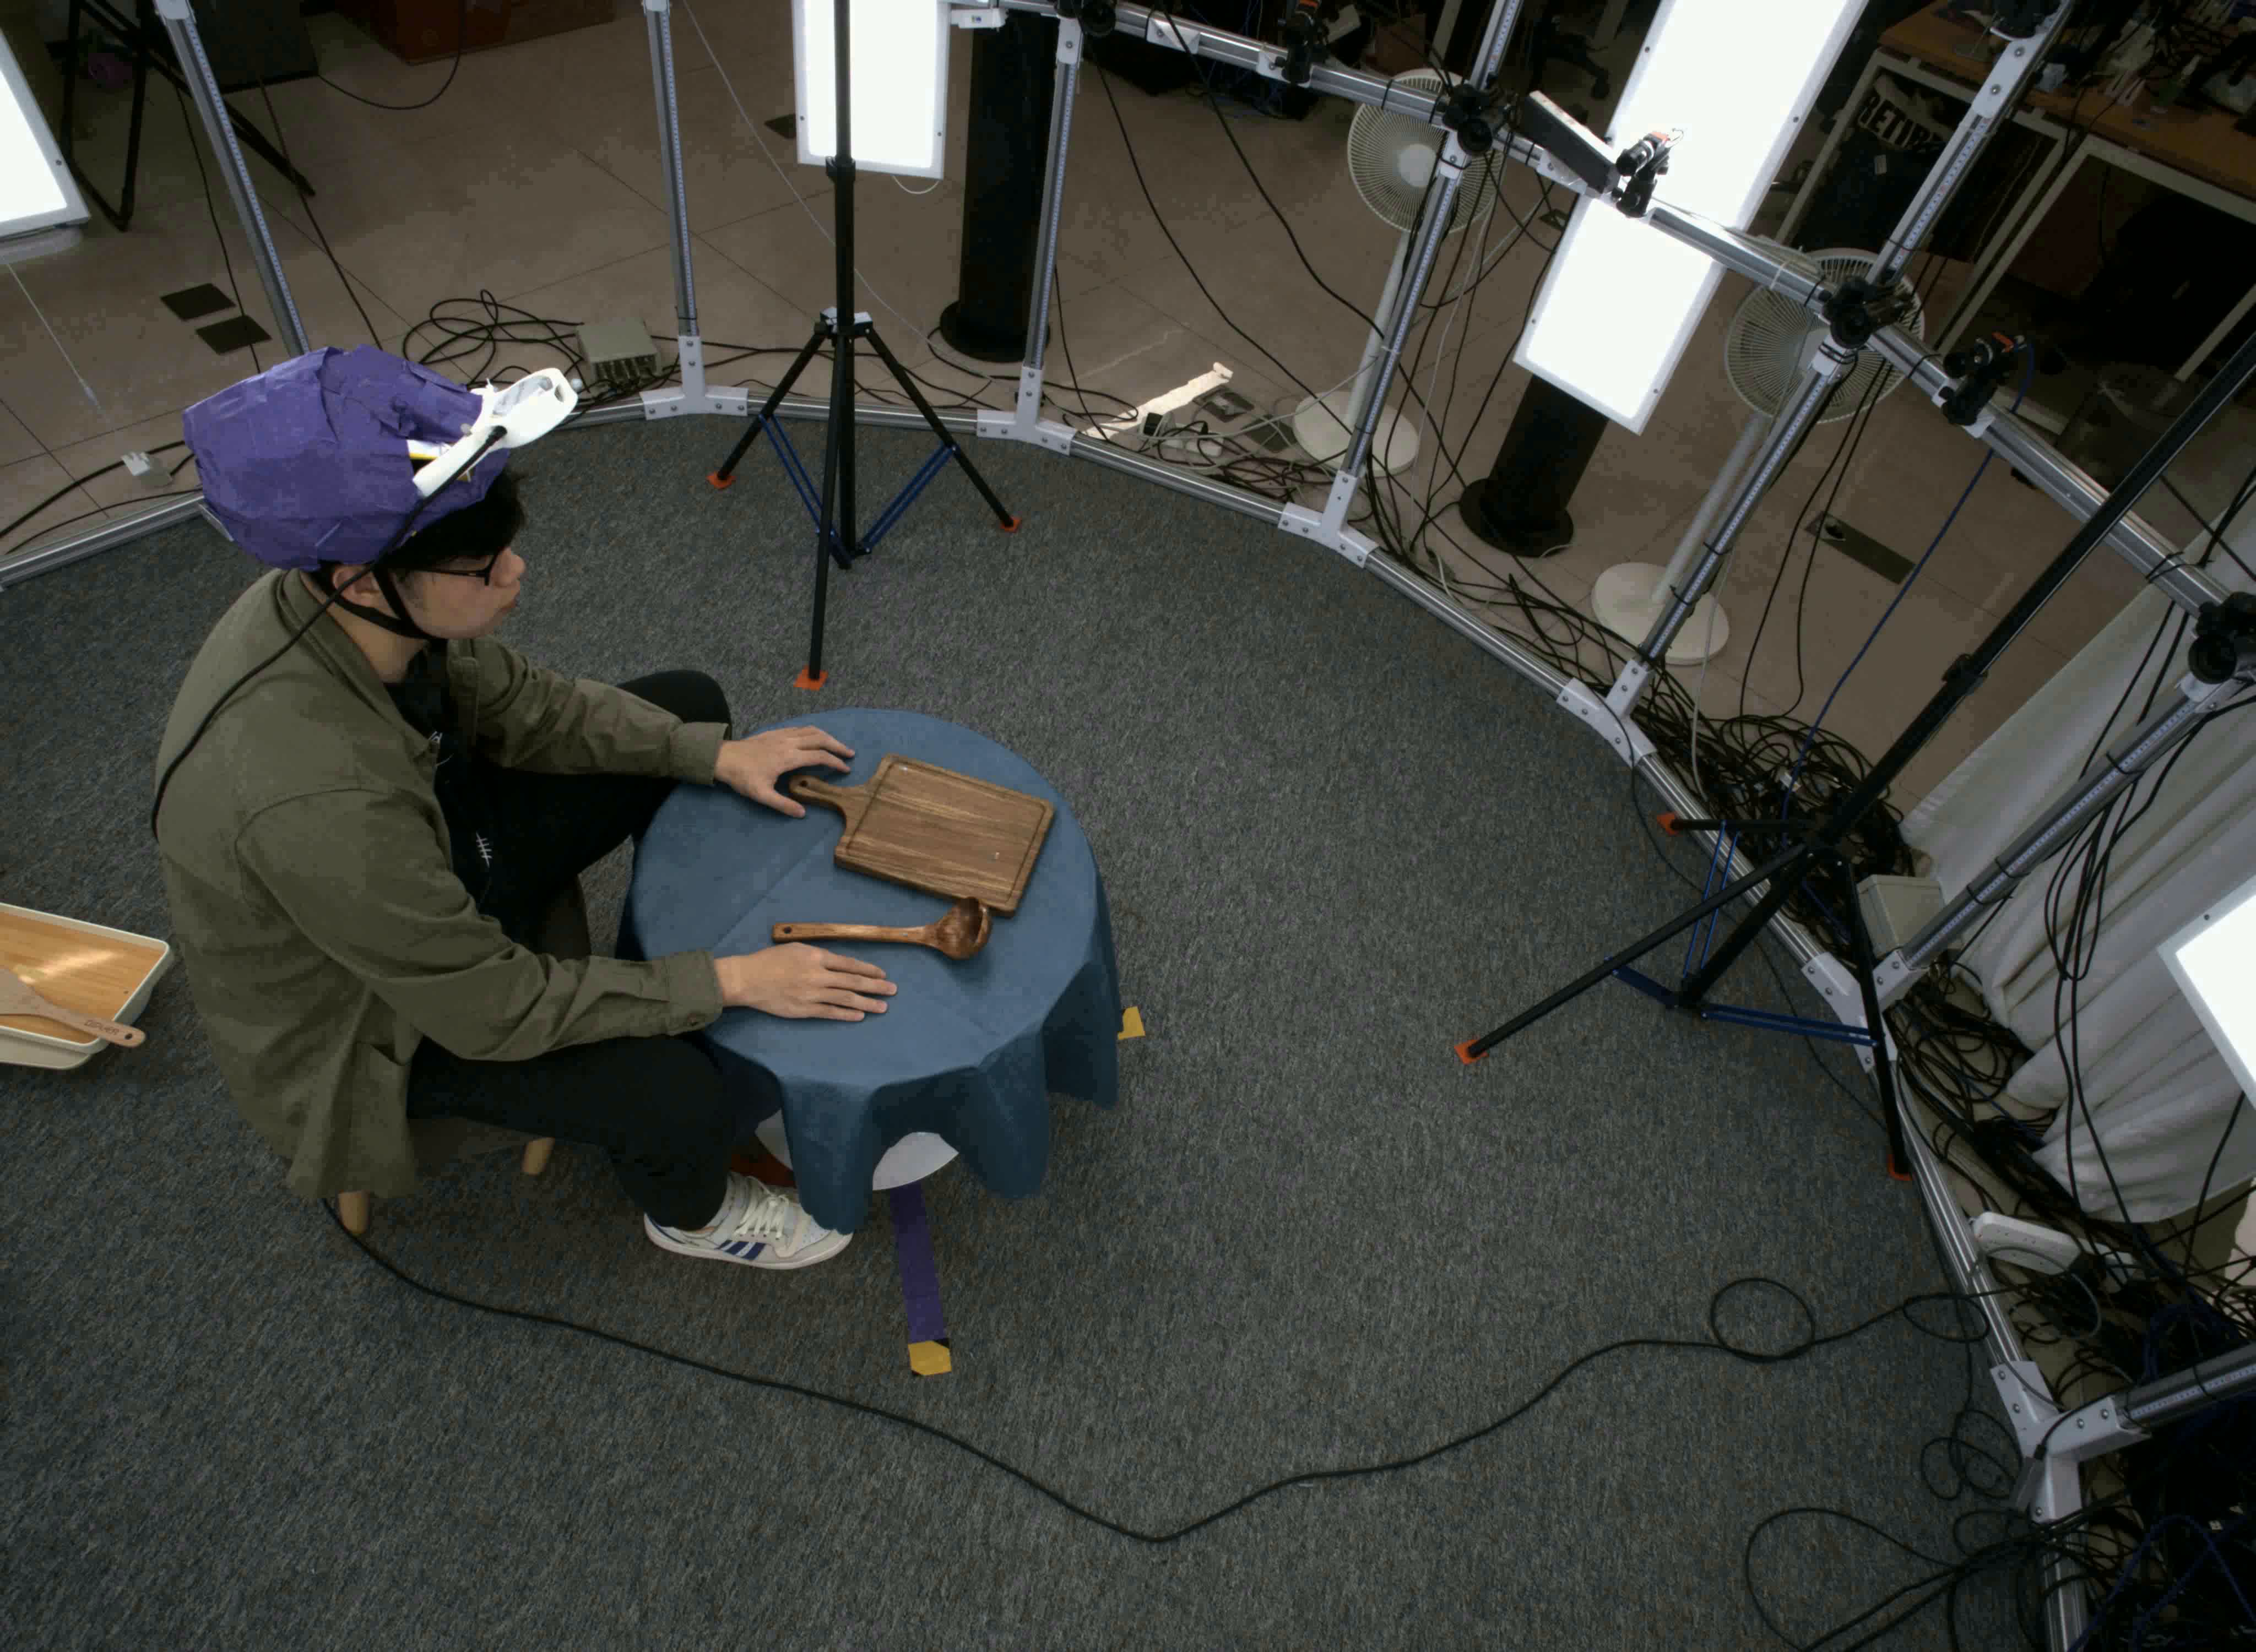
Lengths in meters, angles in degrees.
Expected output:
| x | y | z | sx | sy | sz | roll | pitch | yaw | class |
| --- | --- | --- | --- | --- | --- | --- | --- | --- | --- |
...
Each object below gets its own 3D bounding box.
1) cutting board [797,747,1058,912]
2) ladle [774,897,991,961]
| x | y | z | sx | sy | sz | roll | pitch | yaw | class |
| --- | --- | --- | --- | --- | --- | --- | --- | --- | --- |
| -0.285 | -0.015 | 1.772 | 0.349 | 0.023 | 0.199 | 19 | 52 | 1 | cutting board |
| -0.308 | 0.125 | 1.628 | 0.274 | 0.078 | 0.080 | 3 | 57 | -10 | ladle |
